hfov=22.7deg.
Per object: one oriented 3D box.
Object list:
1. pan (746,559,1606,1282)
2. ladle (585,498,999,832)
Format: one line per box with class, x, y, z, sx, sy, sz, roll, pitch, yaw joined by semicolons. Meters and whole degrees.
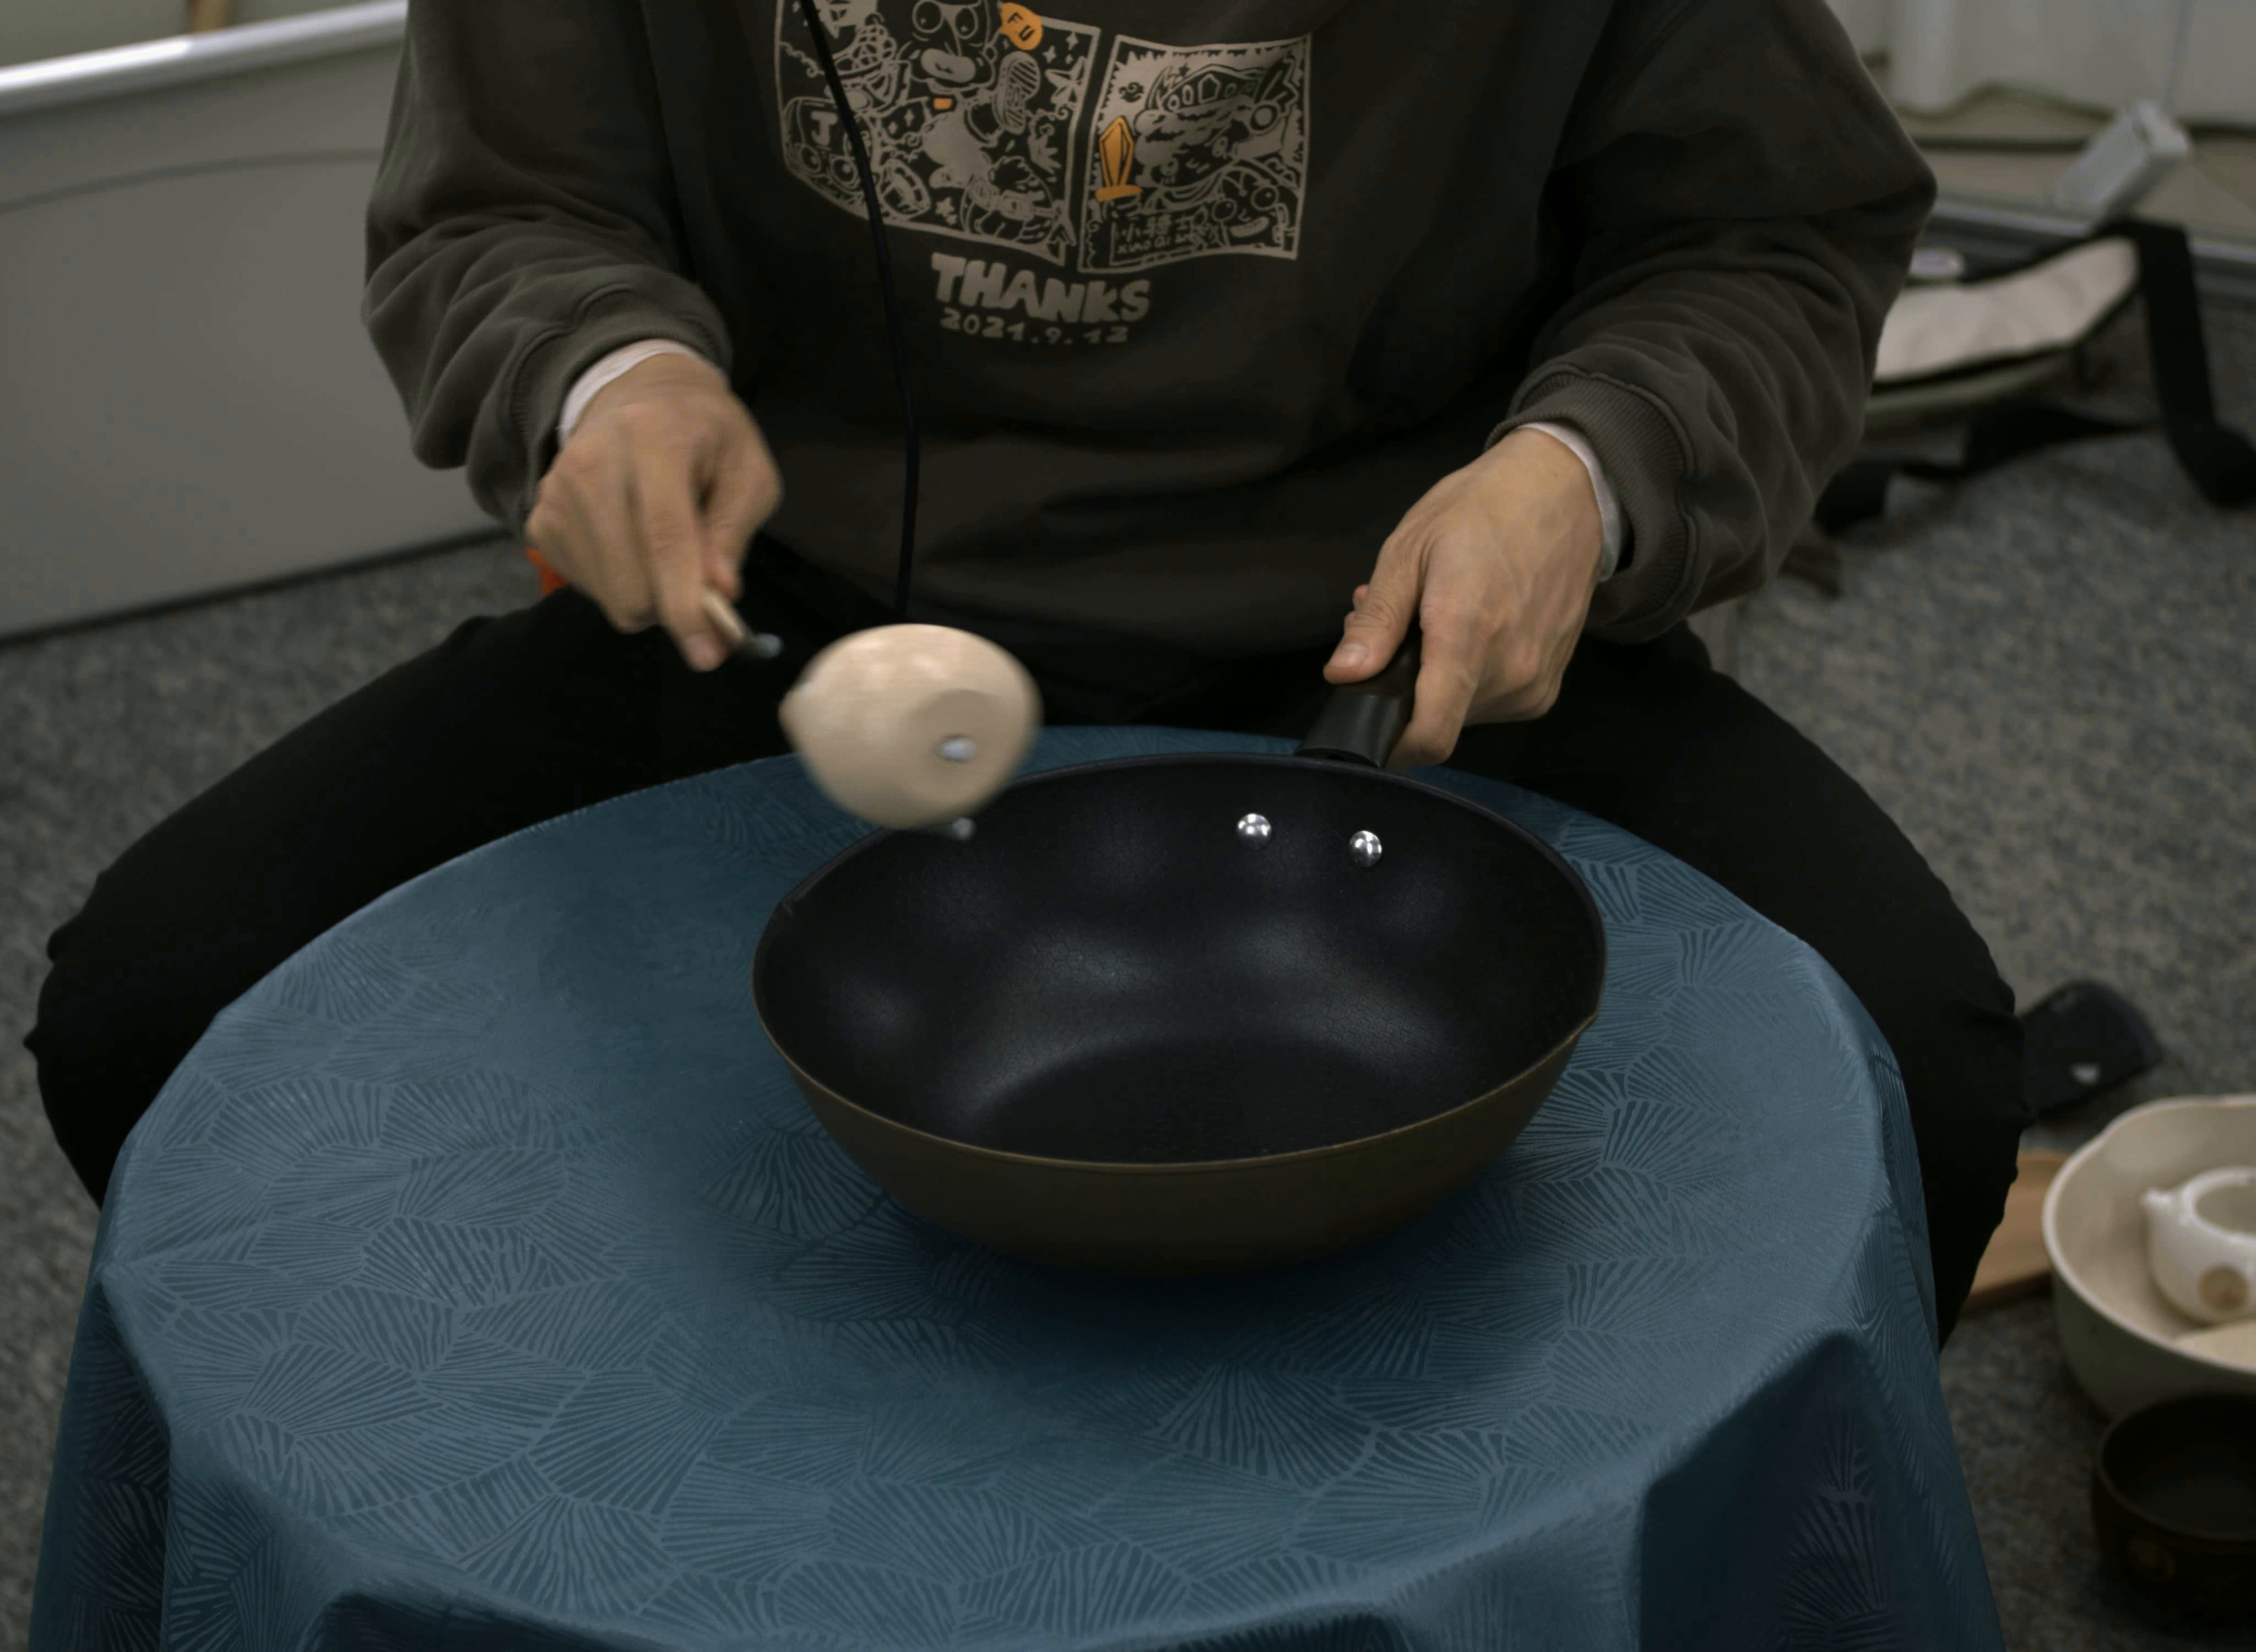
pan;0.050;0.033;1.936;0.286;0.086;0.471;8;29;20
ladle;-0.114;-0.076;1.868;0.073;0.071;0.256;-36;34;-2
